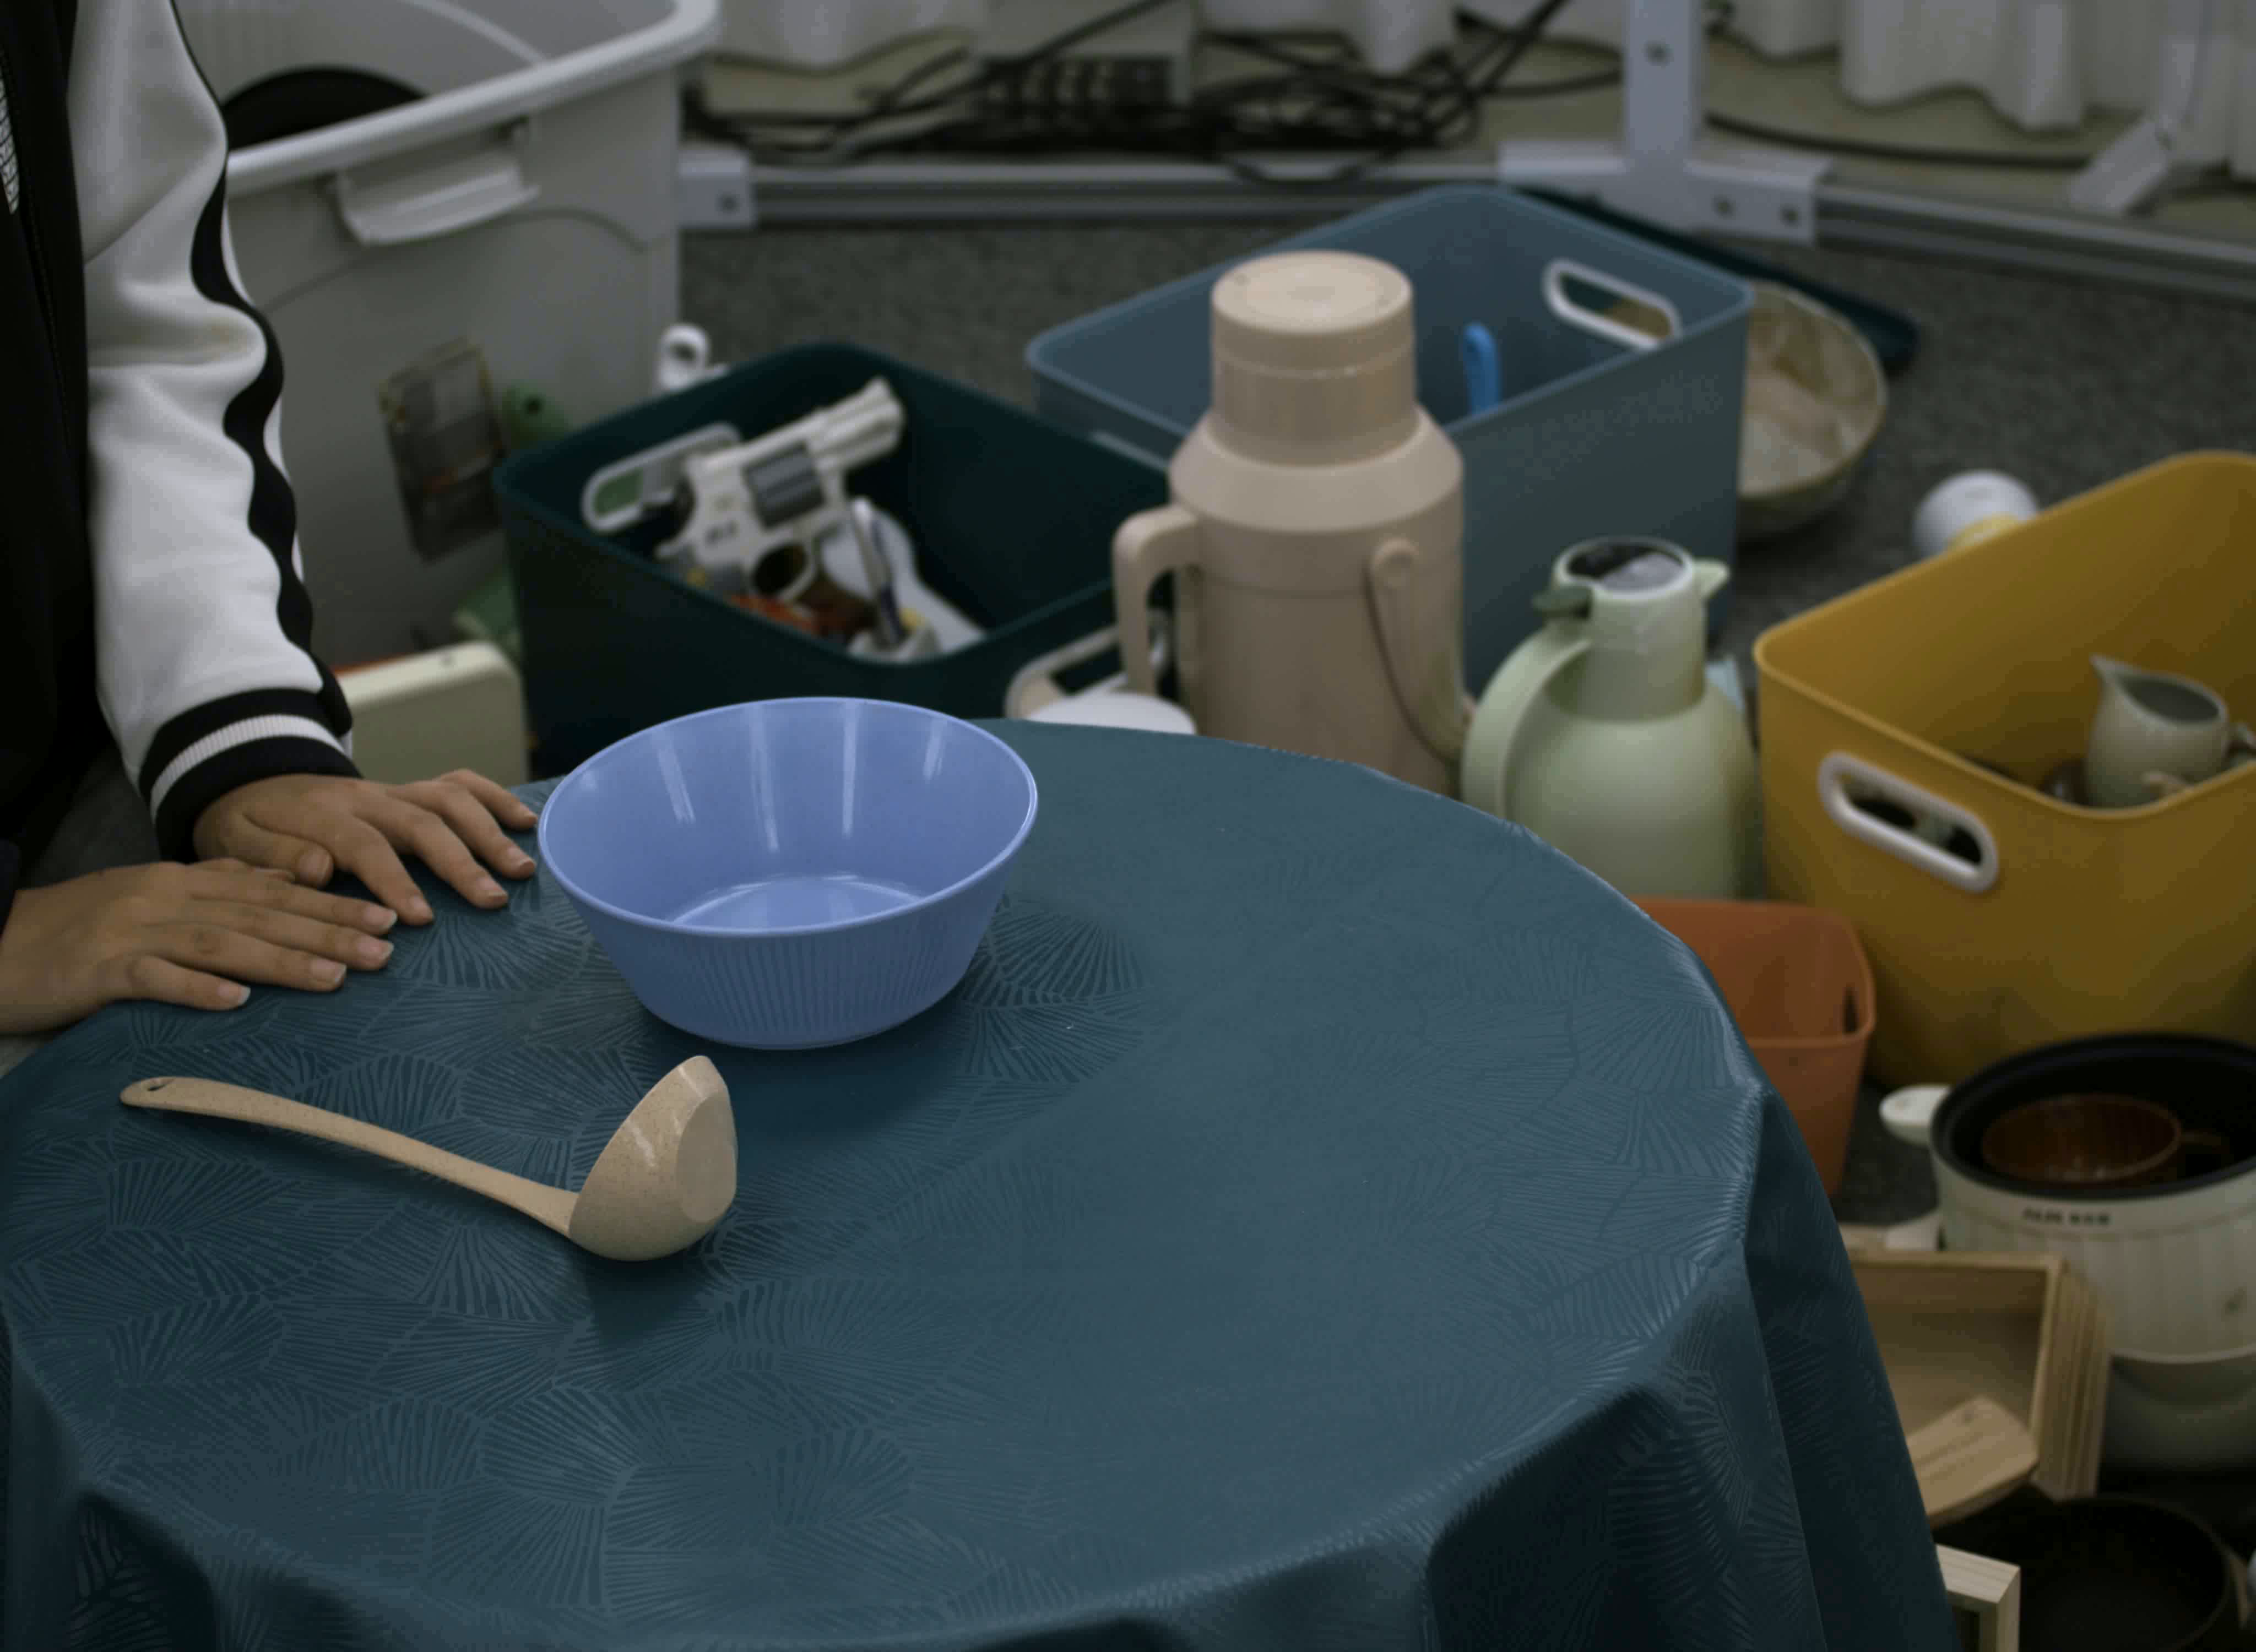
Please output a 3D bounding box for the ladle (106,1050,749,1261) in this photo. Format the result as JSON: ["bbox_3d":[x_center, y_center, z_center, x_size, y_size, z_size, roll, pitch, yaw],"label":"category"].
[{"bbox_3d":[-0.242,0.089,1.871,0.253,0.072,0.073,12,30,26],"label":"ladle"}]

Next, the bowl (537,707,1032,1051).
[{"bbox_3d":[-0.119,0.024,1.986,0.175,0.069,0.178,-2,26,1],"label":"bowl"}]
